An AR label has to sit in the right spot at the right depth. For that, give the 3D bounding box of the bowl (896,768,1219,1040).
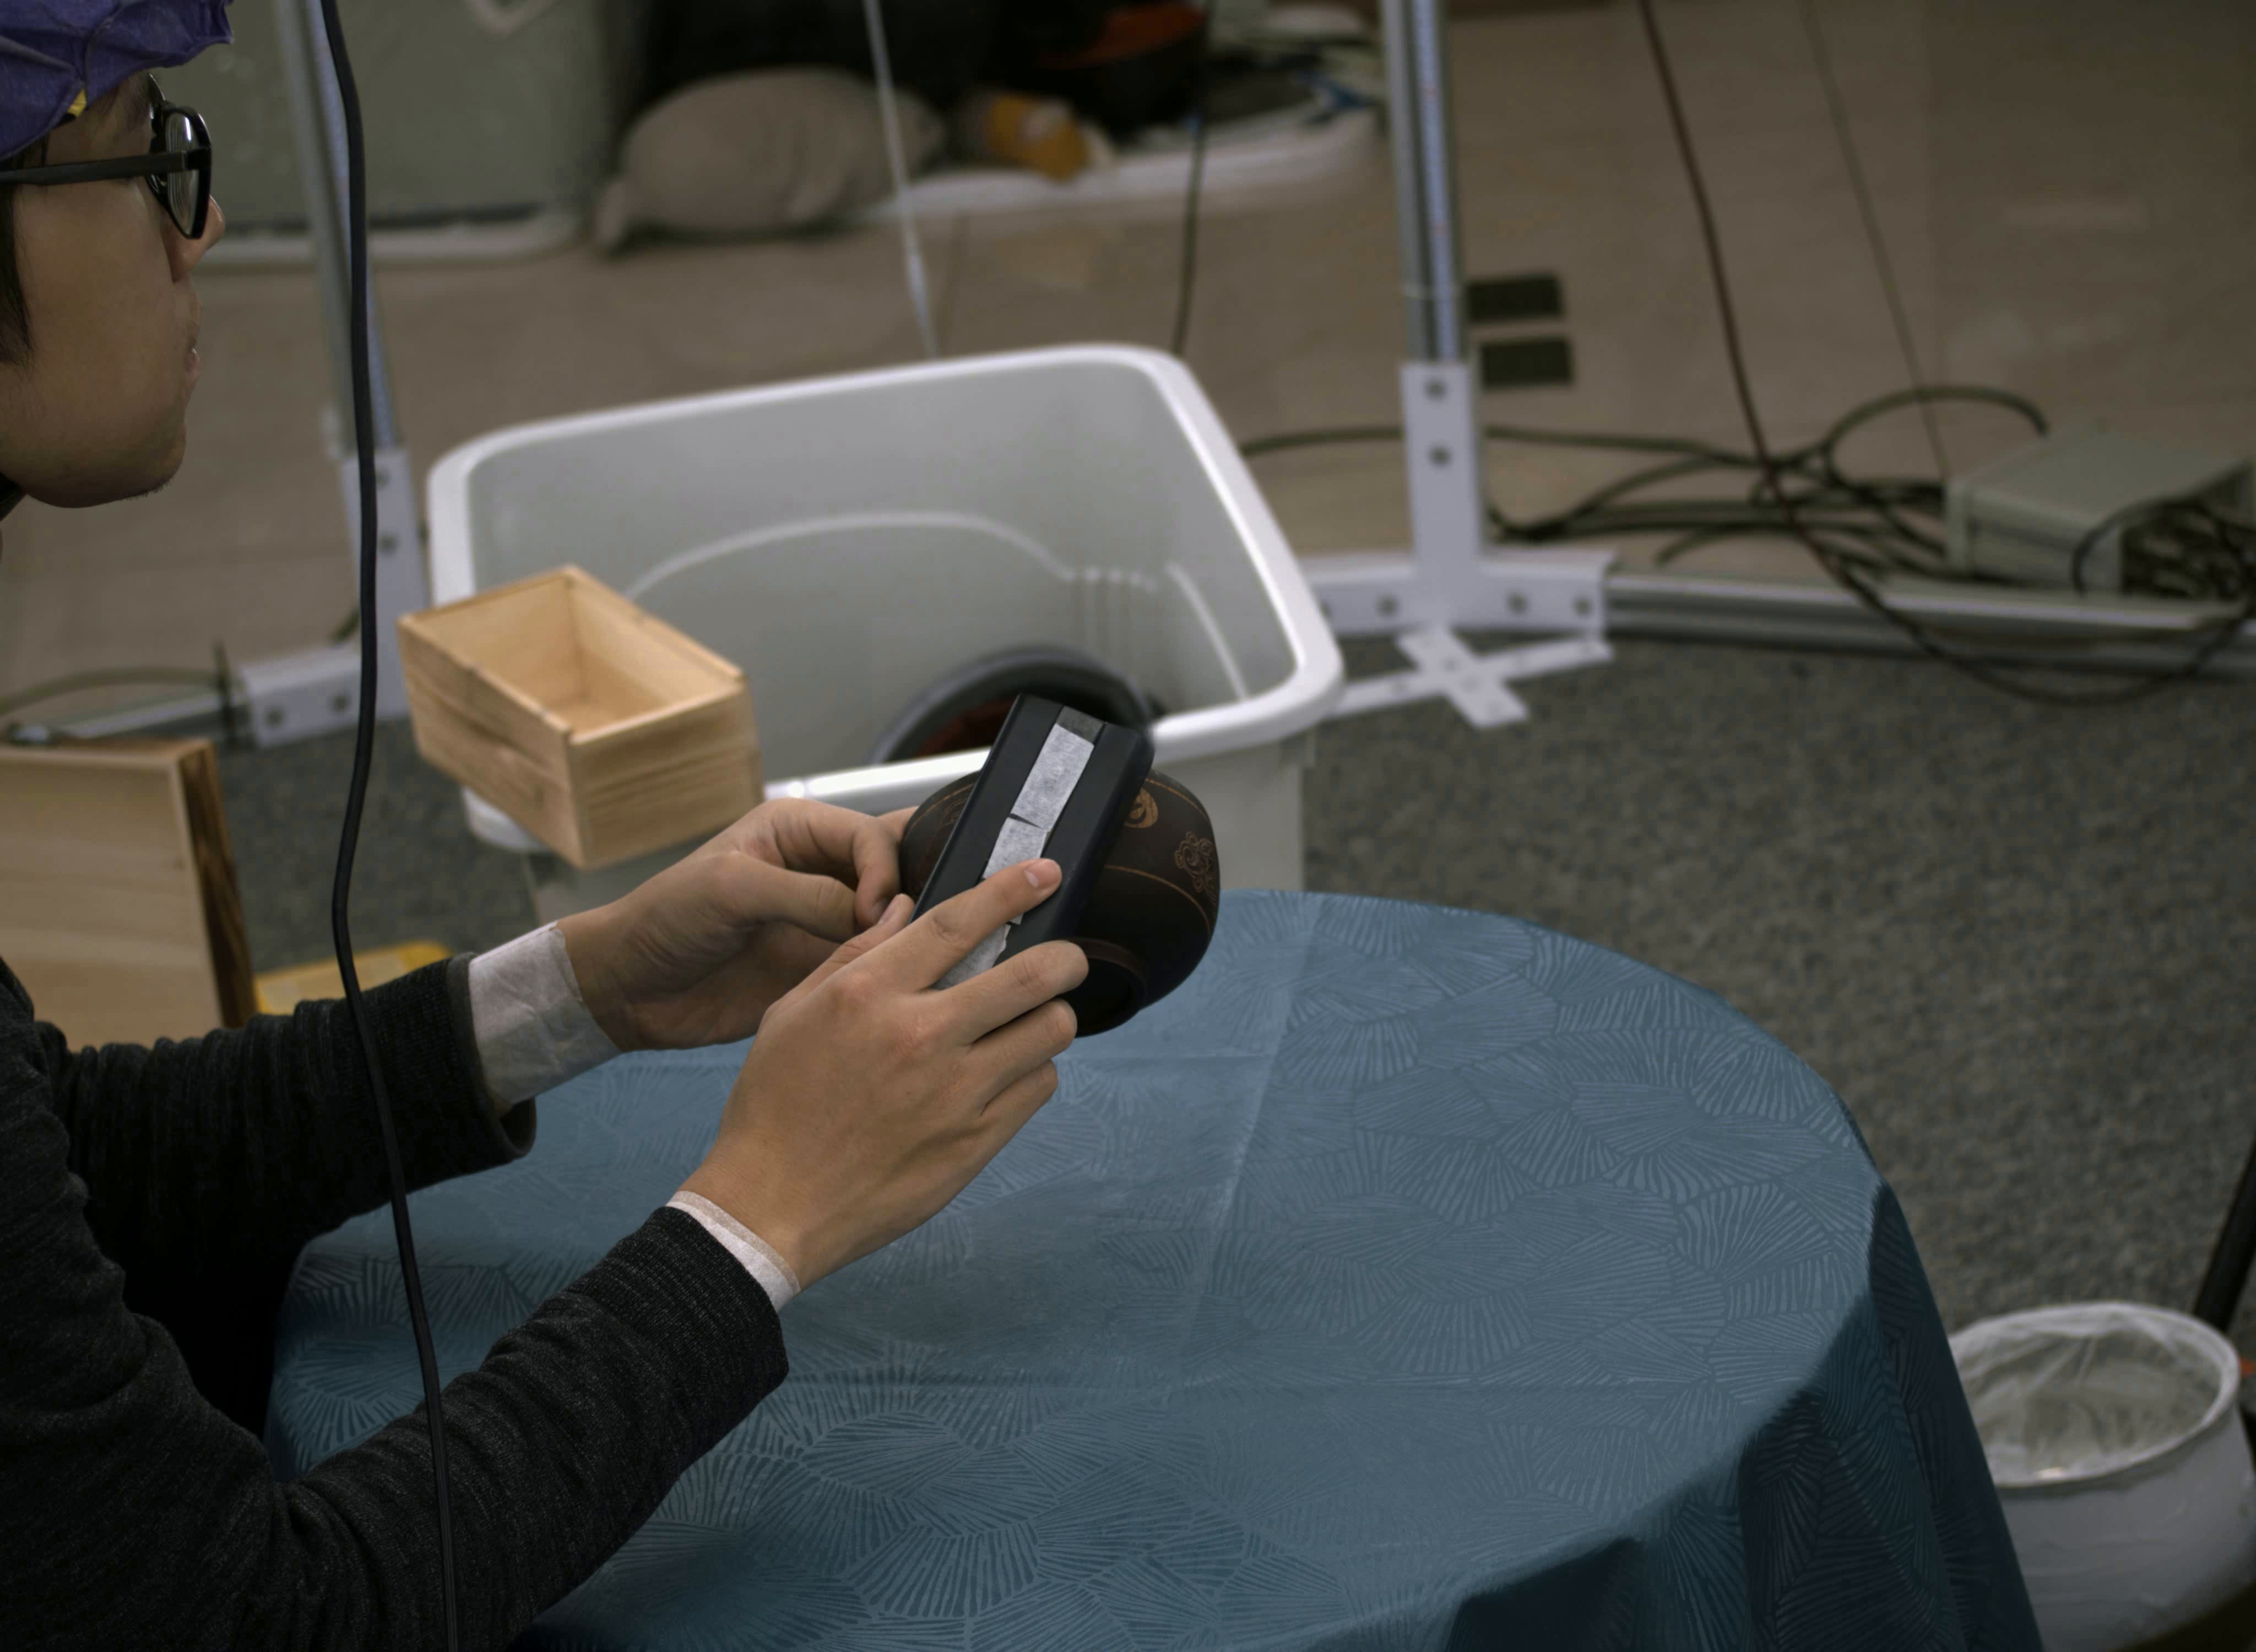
[{"bbox_3d":[-0.025,0.034,2.056,0.118,0.120,0.069,-5,59,2],"label":"bowl"}]

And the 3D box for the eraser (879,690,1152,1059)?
[{"bbox_3d":[-0.039,0.016,1.990,0.053,0.031,0.124,21,75,10],"label":"eraser"}]
